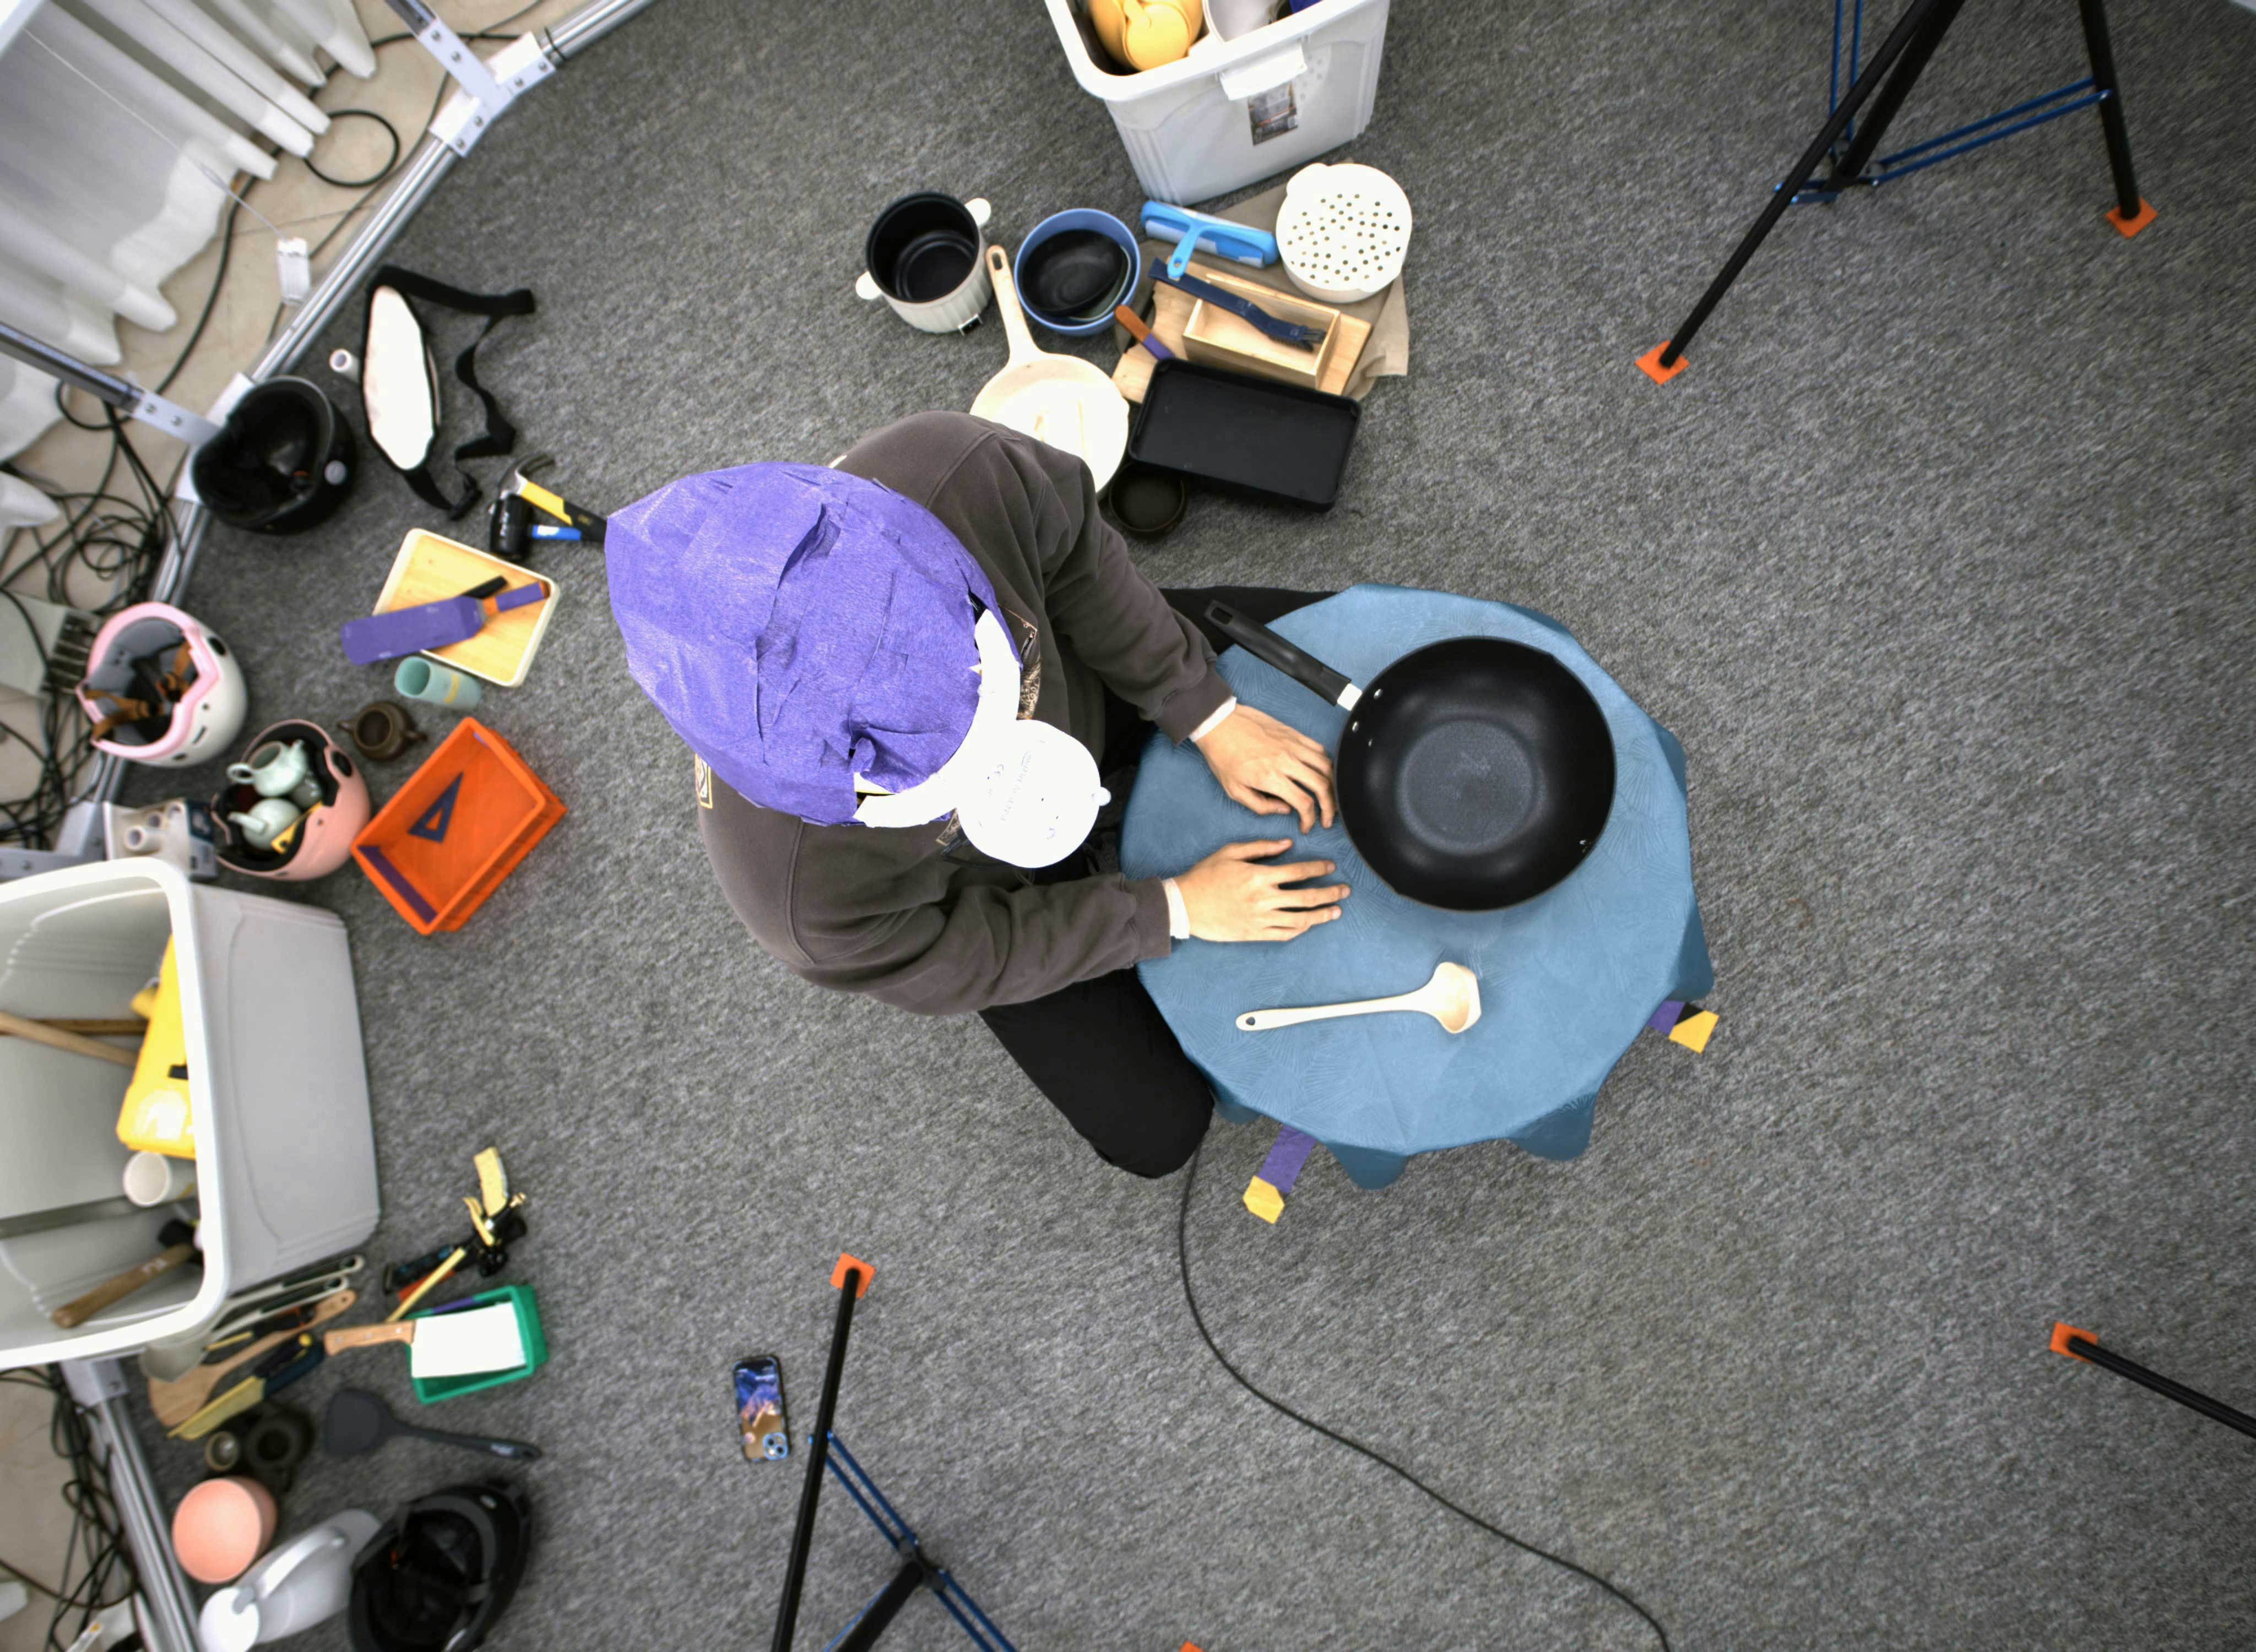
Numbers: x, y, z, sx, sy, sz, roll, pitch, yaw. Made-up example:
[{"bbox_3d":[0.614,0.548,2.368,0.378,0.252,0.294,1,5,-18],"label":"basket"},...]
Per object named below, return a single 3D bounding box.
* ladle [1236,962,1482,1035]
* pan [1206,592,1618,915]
[{"bbox_3d":[0.234,0.191,1.421,0.255,0.072,0.072,-11,90,8],"label":"ladle"},{"bbox_3d":[0.276,-0.099,1.422,0.462,0.087,0.289,34,94,11],"label":"pan"}]
